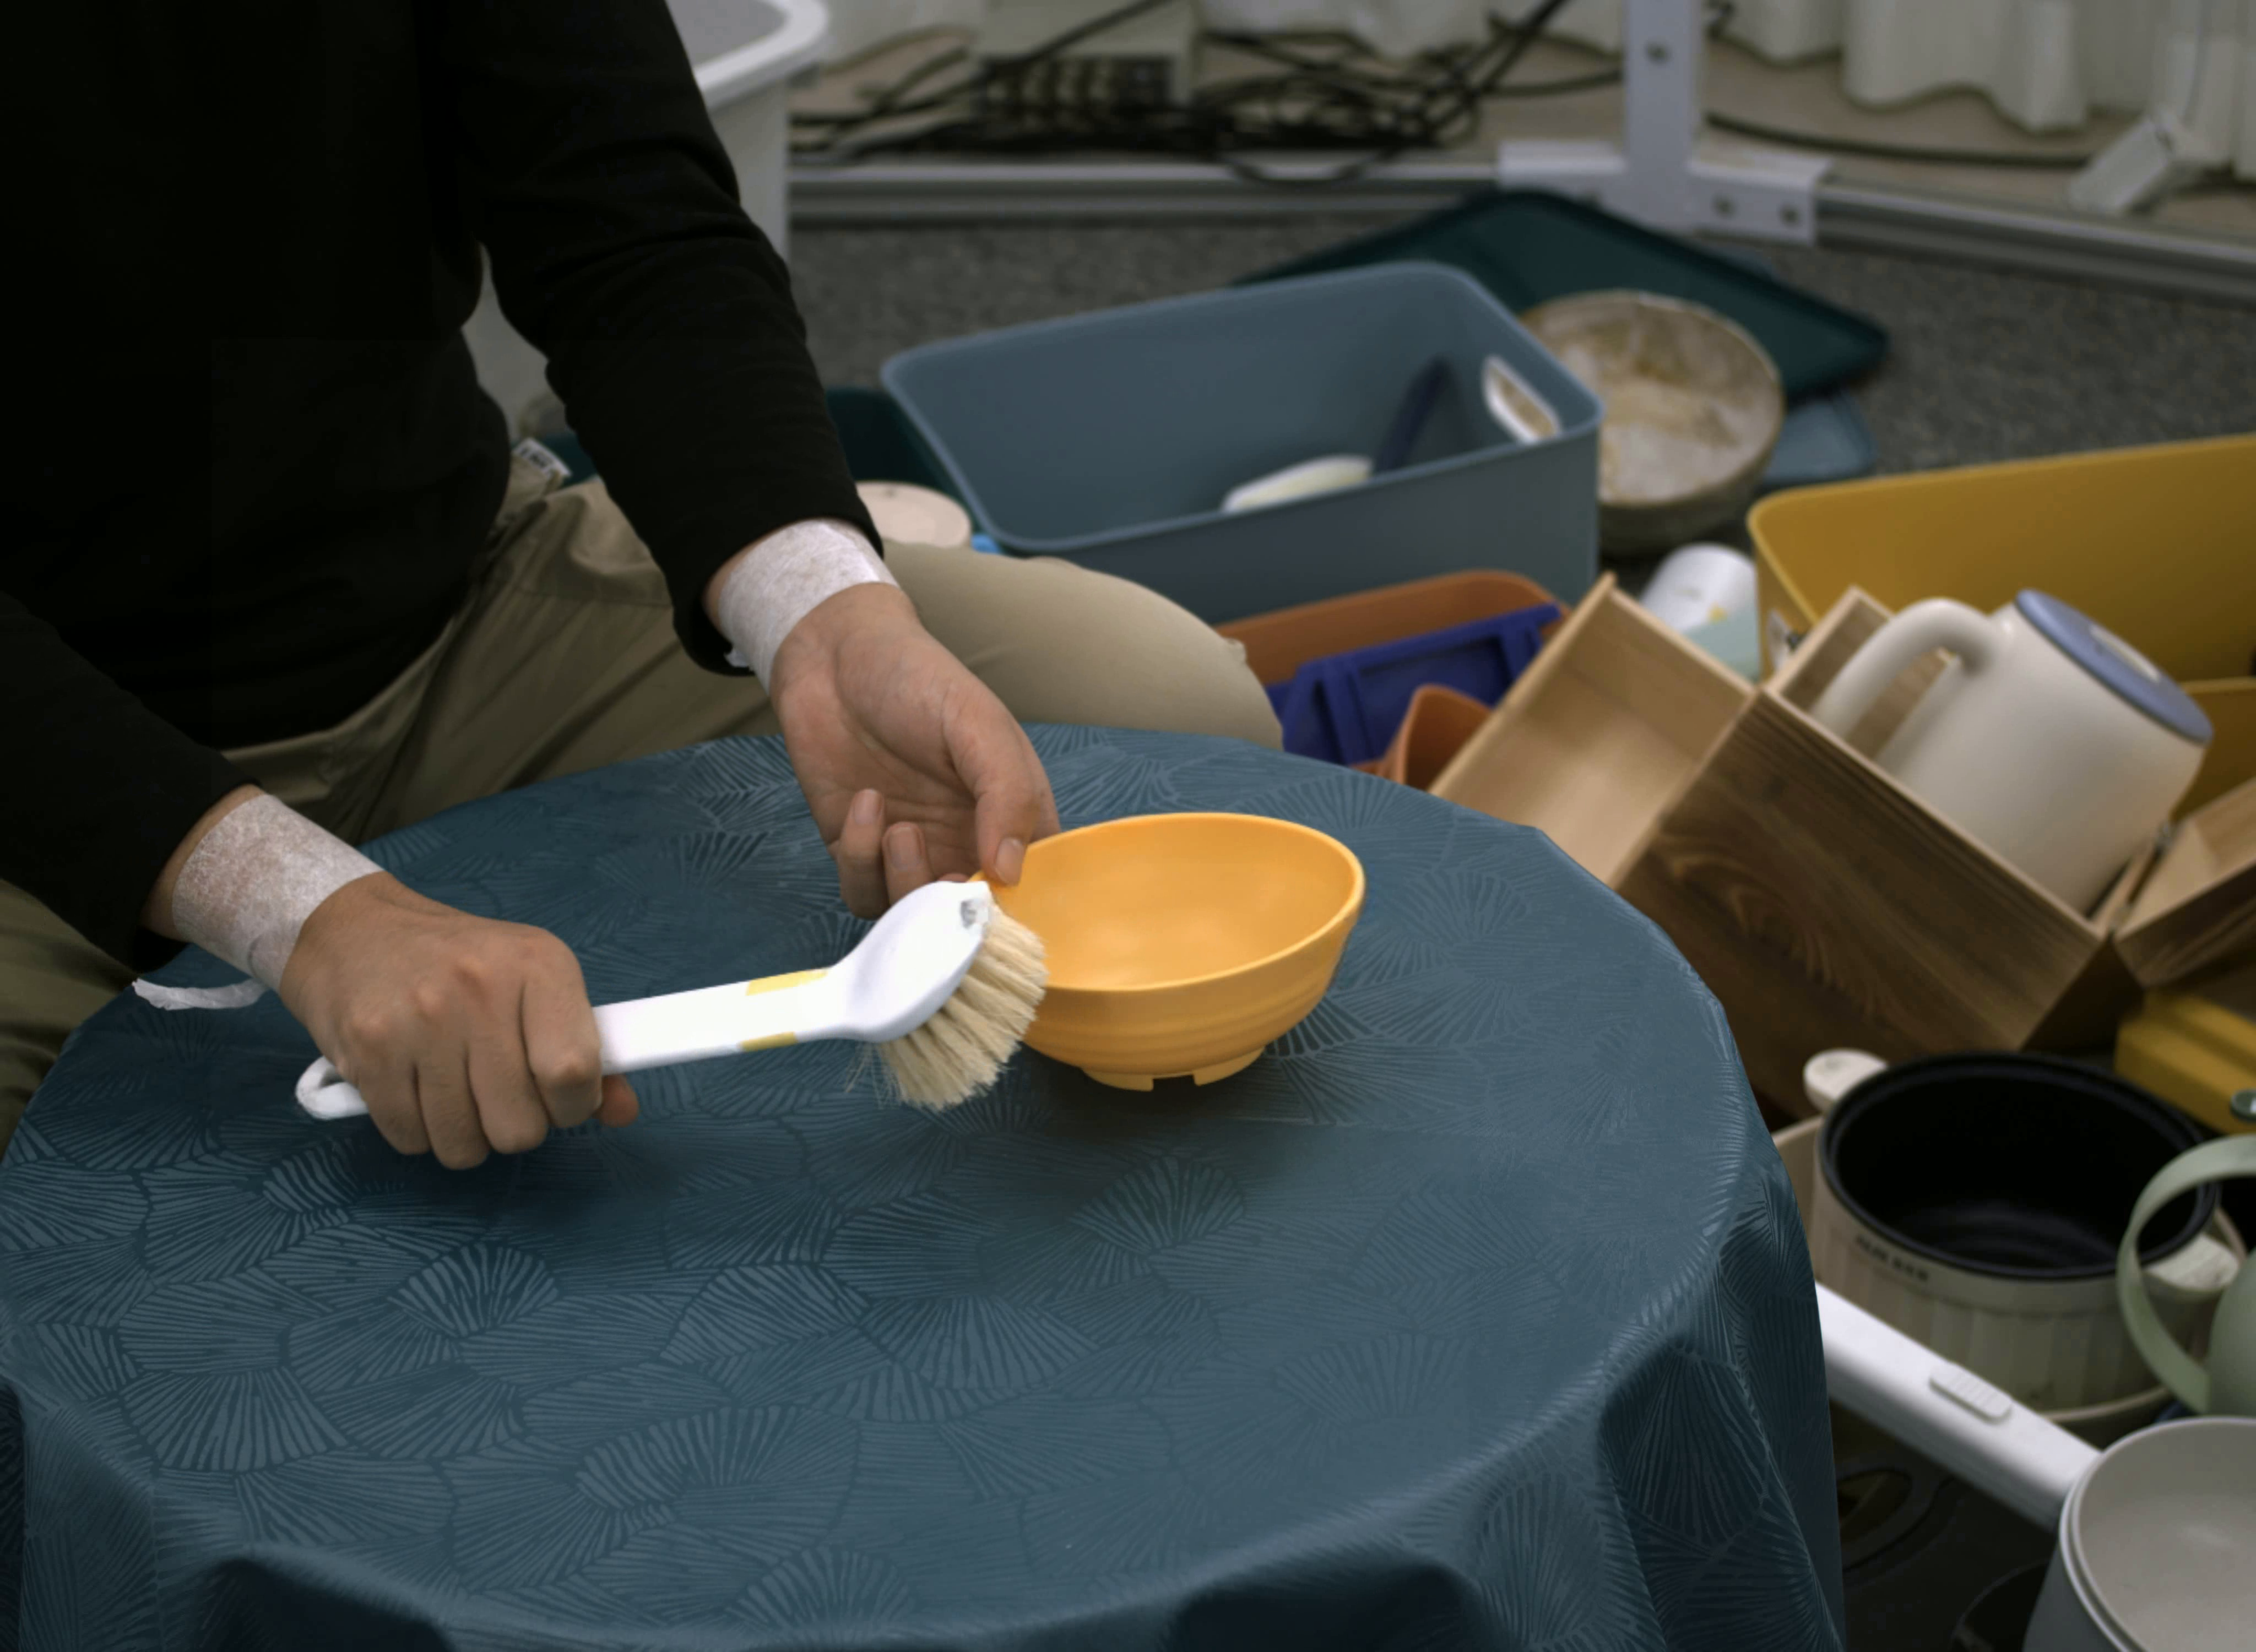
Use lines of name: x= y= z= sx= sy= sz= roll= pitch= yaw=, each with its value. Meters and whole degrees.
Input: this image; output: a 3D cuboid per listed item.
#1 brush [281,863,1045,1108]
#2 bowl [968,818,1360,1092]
brush: x=-0.152 y=0.071 z=1.864 sx=0.264 sy=0.055 sz=0.070 roll=-15 pitch=34 yaw=15
bowl: x=0.011 y=0.051 z=1.925 sx=0.144 sy=0.059 sz=0.147 roll=-5 pitch=22 yaw=2
